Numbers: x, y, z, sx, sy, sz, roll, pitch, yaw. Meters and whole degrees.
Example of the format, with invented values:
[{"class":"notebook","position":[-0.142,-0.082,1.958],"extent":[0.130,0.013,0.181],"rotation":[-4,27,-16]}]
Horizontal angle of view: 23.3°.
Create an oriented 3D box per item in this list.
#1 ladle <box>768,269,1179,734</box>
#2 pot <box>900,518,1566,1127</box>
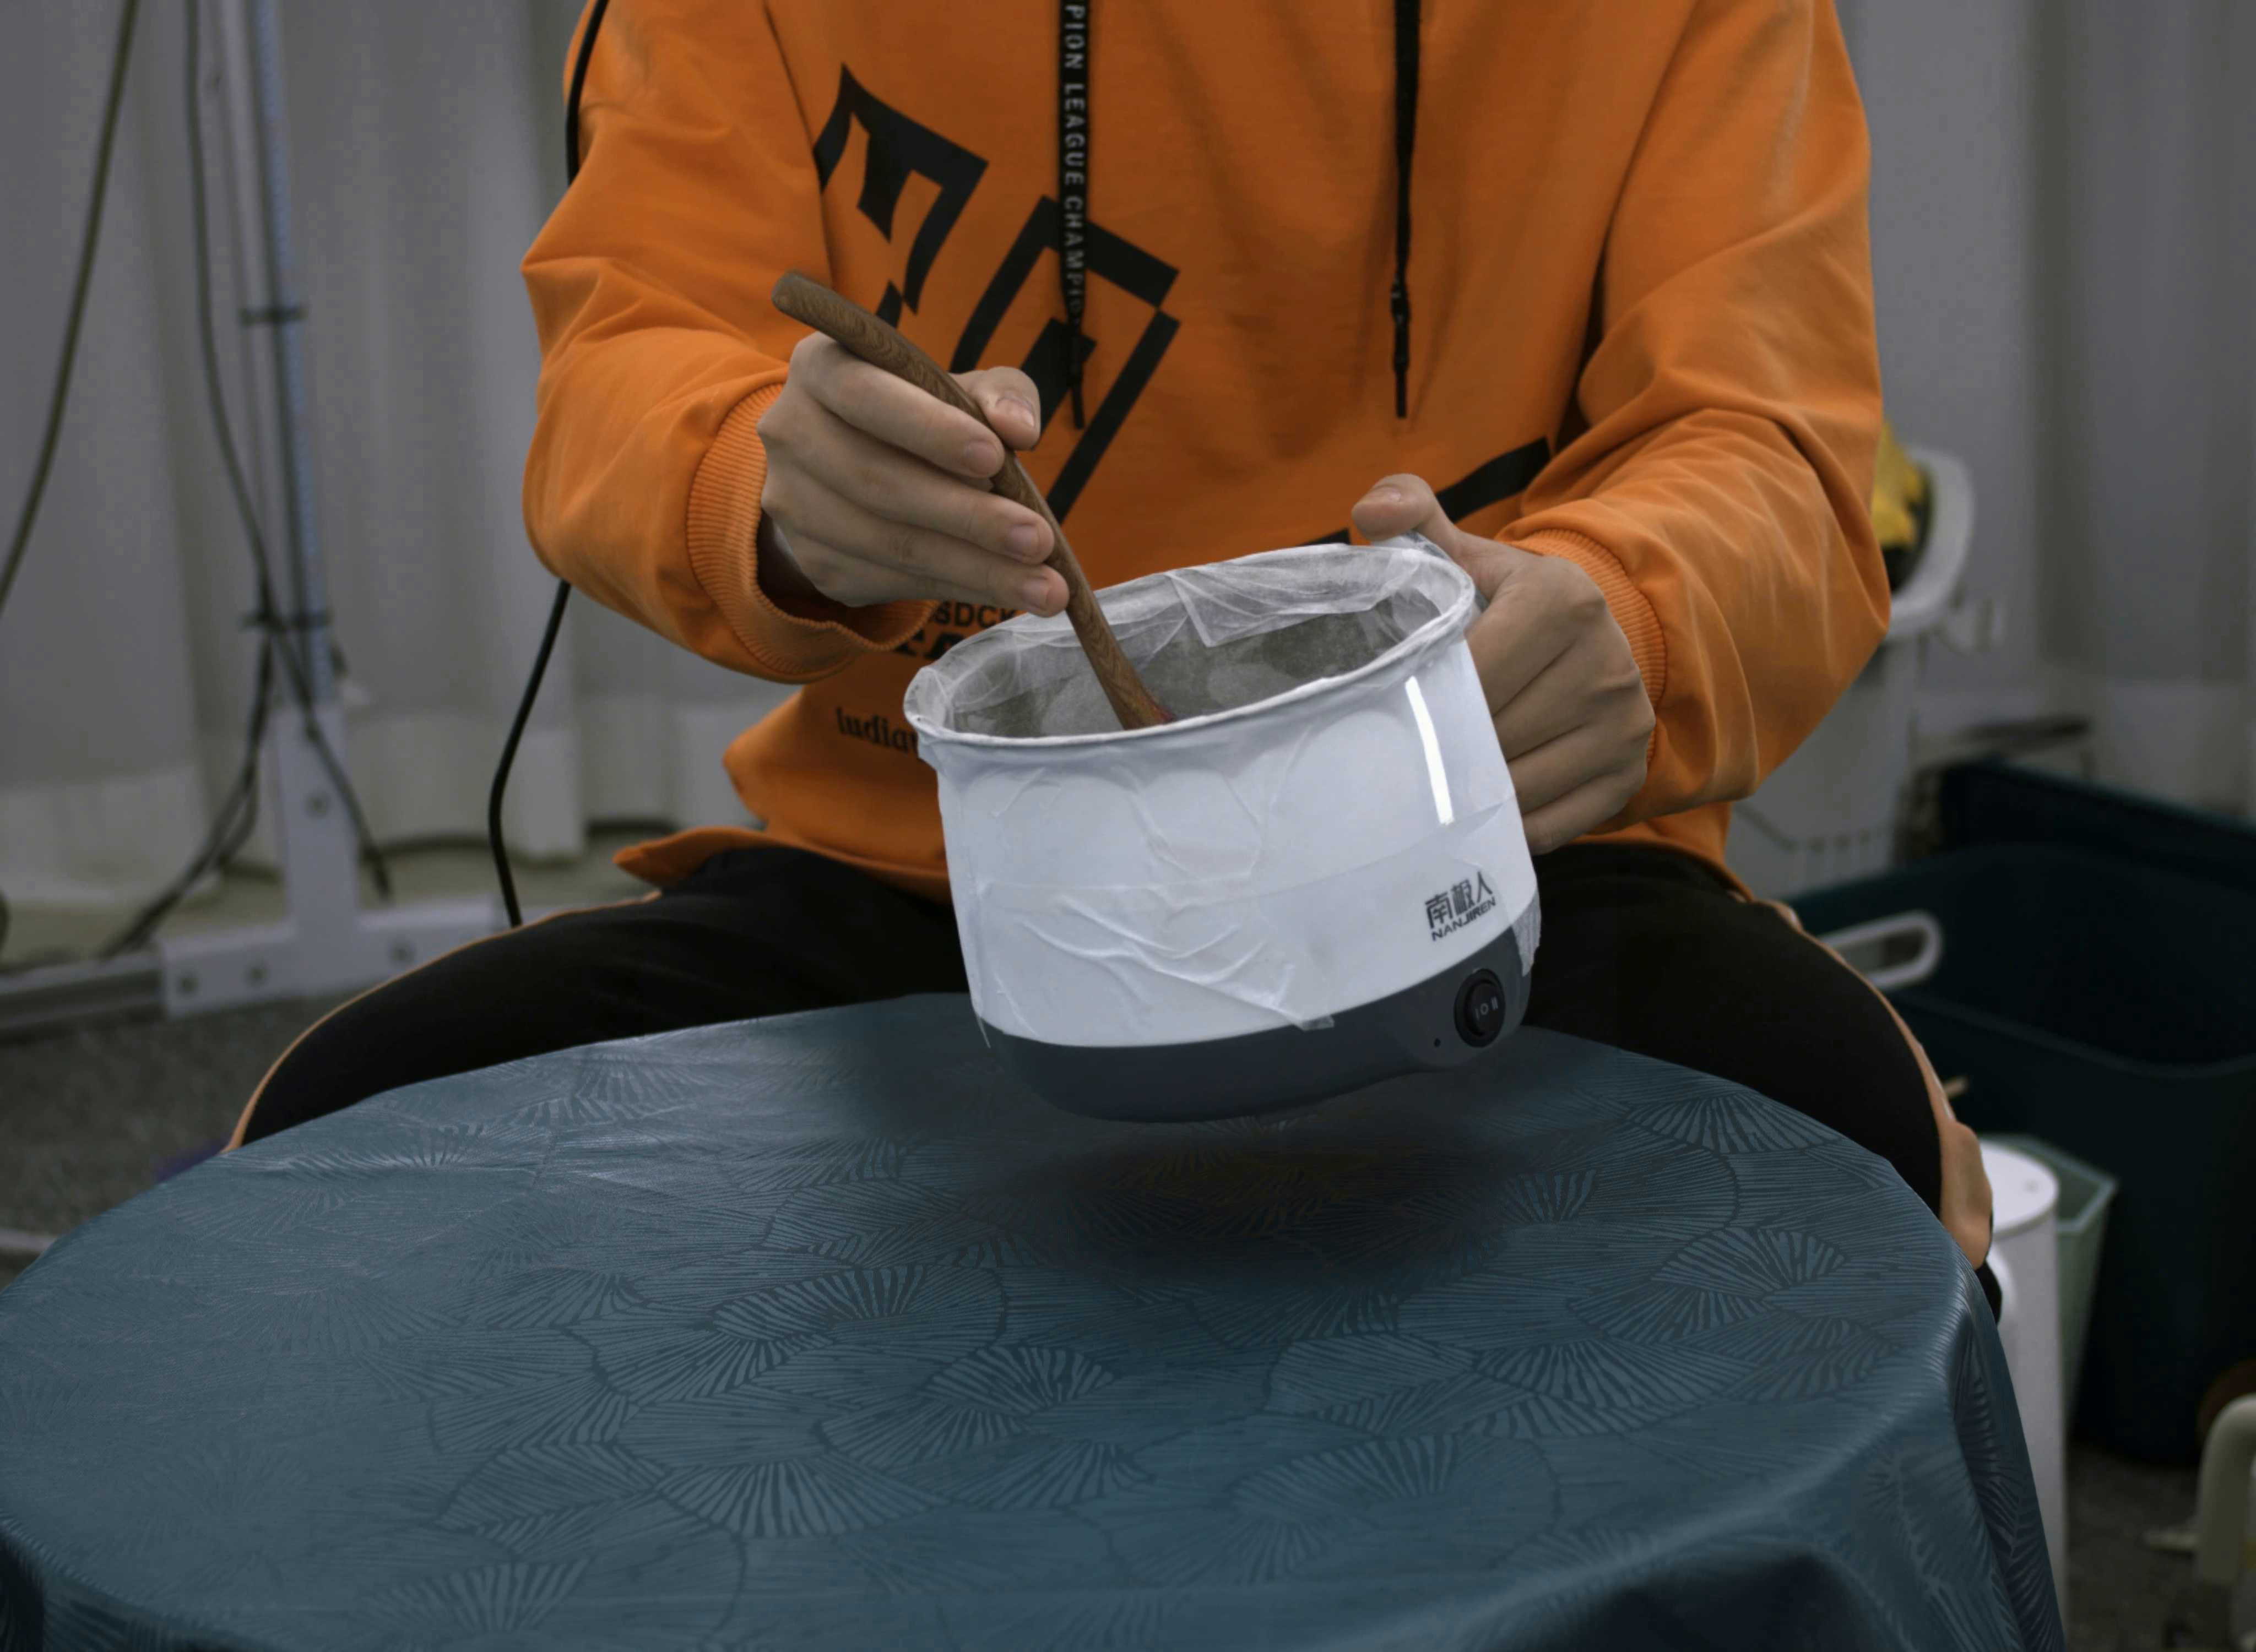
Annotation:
[{"class":"ladle","position":[-0.006,-0.084,1.669],"extent":[0.065,0.261,0.076],"rotation":[-39,-4,-1]},{"class":"pot","position":[0.048,-0.007,1.685],"extent":[0.179,0.136,0.234],"rotation":[3,23,42]}]
